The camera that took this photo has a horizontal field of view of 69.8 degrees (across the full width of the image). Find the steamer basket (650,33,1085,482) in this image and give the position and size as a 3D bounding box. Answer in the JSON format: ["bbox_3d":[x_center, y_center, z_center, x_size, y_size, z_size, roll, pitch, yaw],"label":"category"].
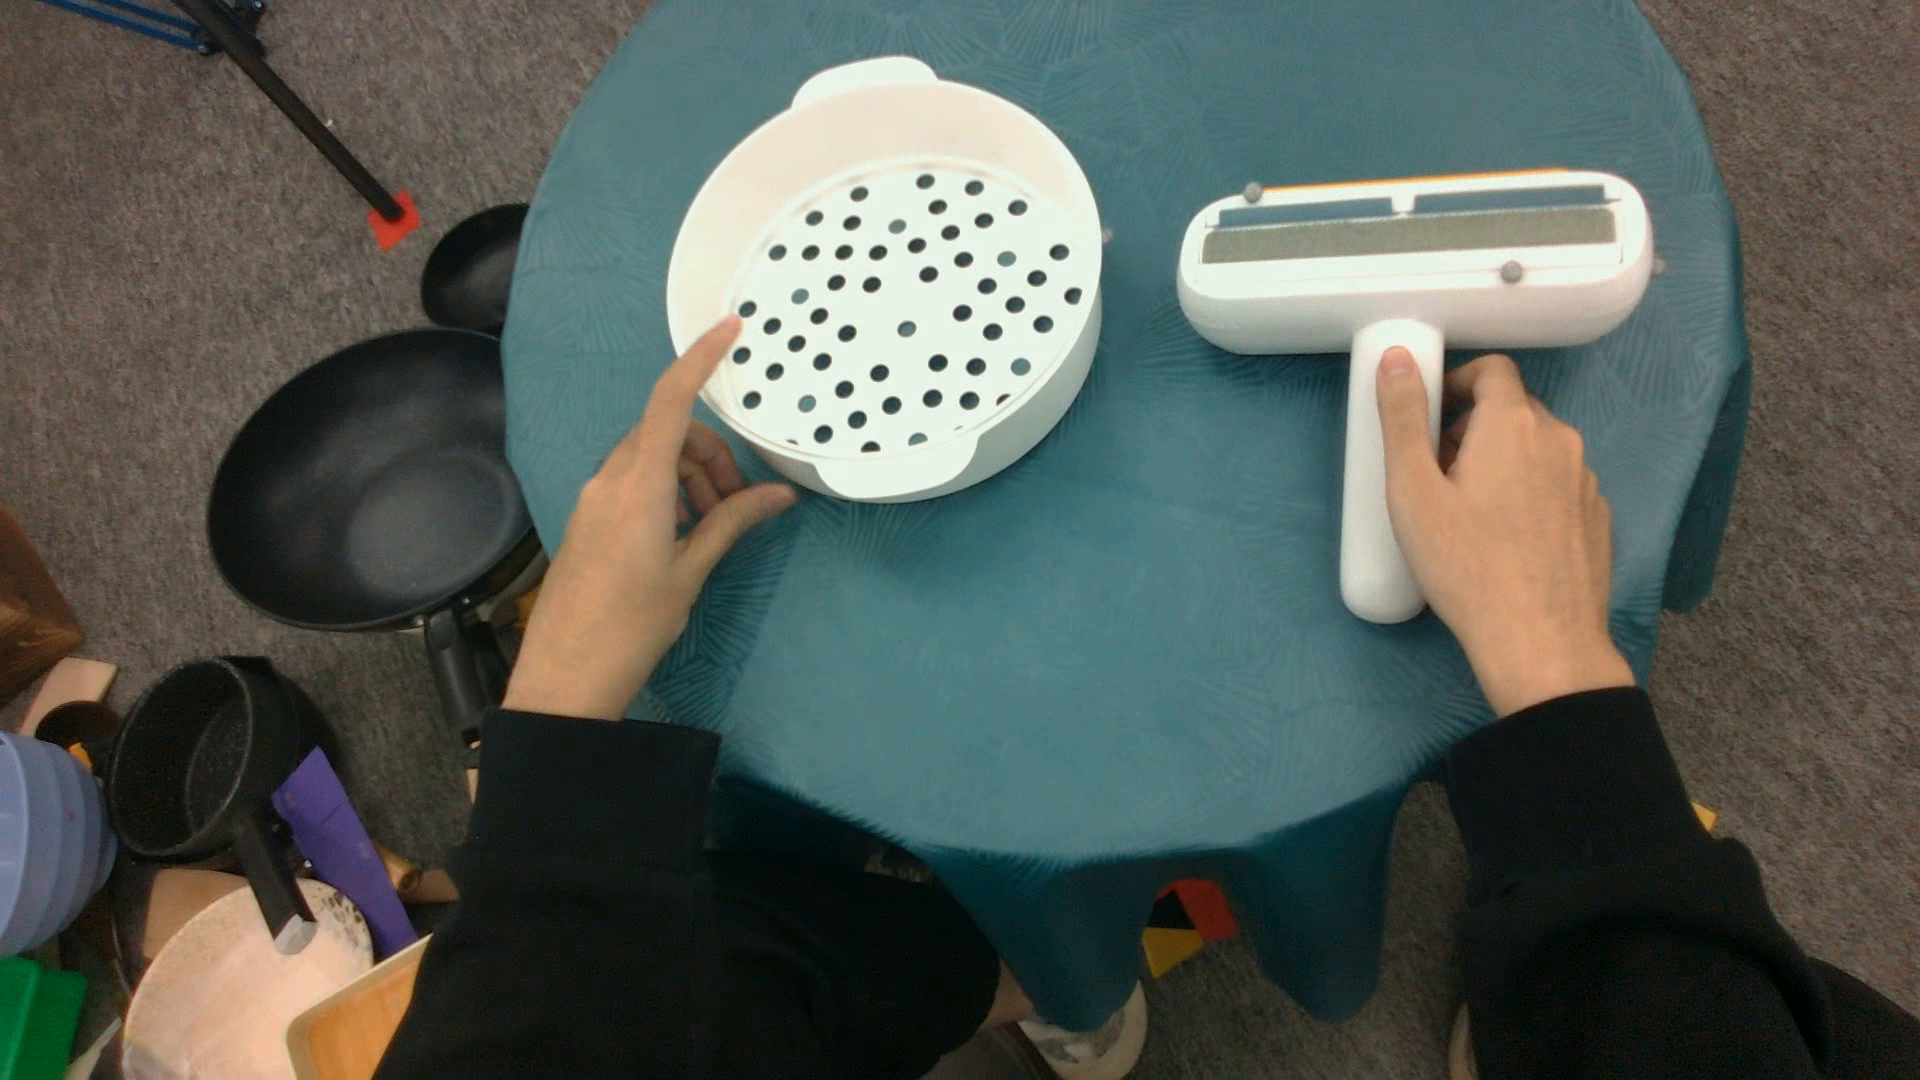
[{"bbox_3d":[-0.041,-0.127,0.653,0.202,0.069,0.231,-9,70,7],"label":"steamer basket"}]

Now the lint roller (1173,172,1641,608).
[{"bbox_3d":[0.180,-0.068,0.591,0.192,0.074,0.193,7,72,17],"label":"lint roller"}]
